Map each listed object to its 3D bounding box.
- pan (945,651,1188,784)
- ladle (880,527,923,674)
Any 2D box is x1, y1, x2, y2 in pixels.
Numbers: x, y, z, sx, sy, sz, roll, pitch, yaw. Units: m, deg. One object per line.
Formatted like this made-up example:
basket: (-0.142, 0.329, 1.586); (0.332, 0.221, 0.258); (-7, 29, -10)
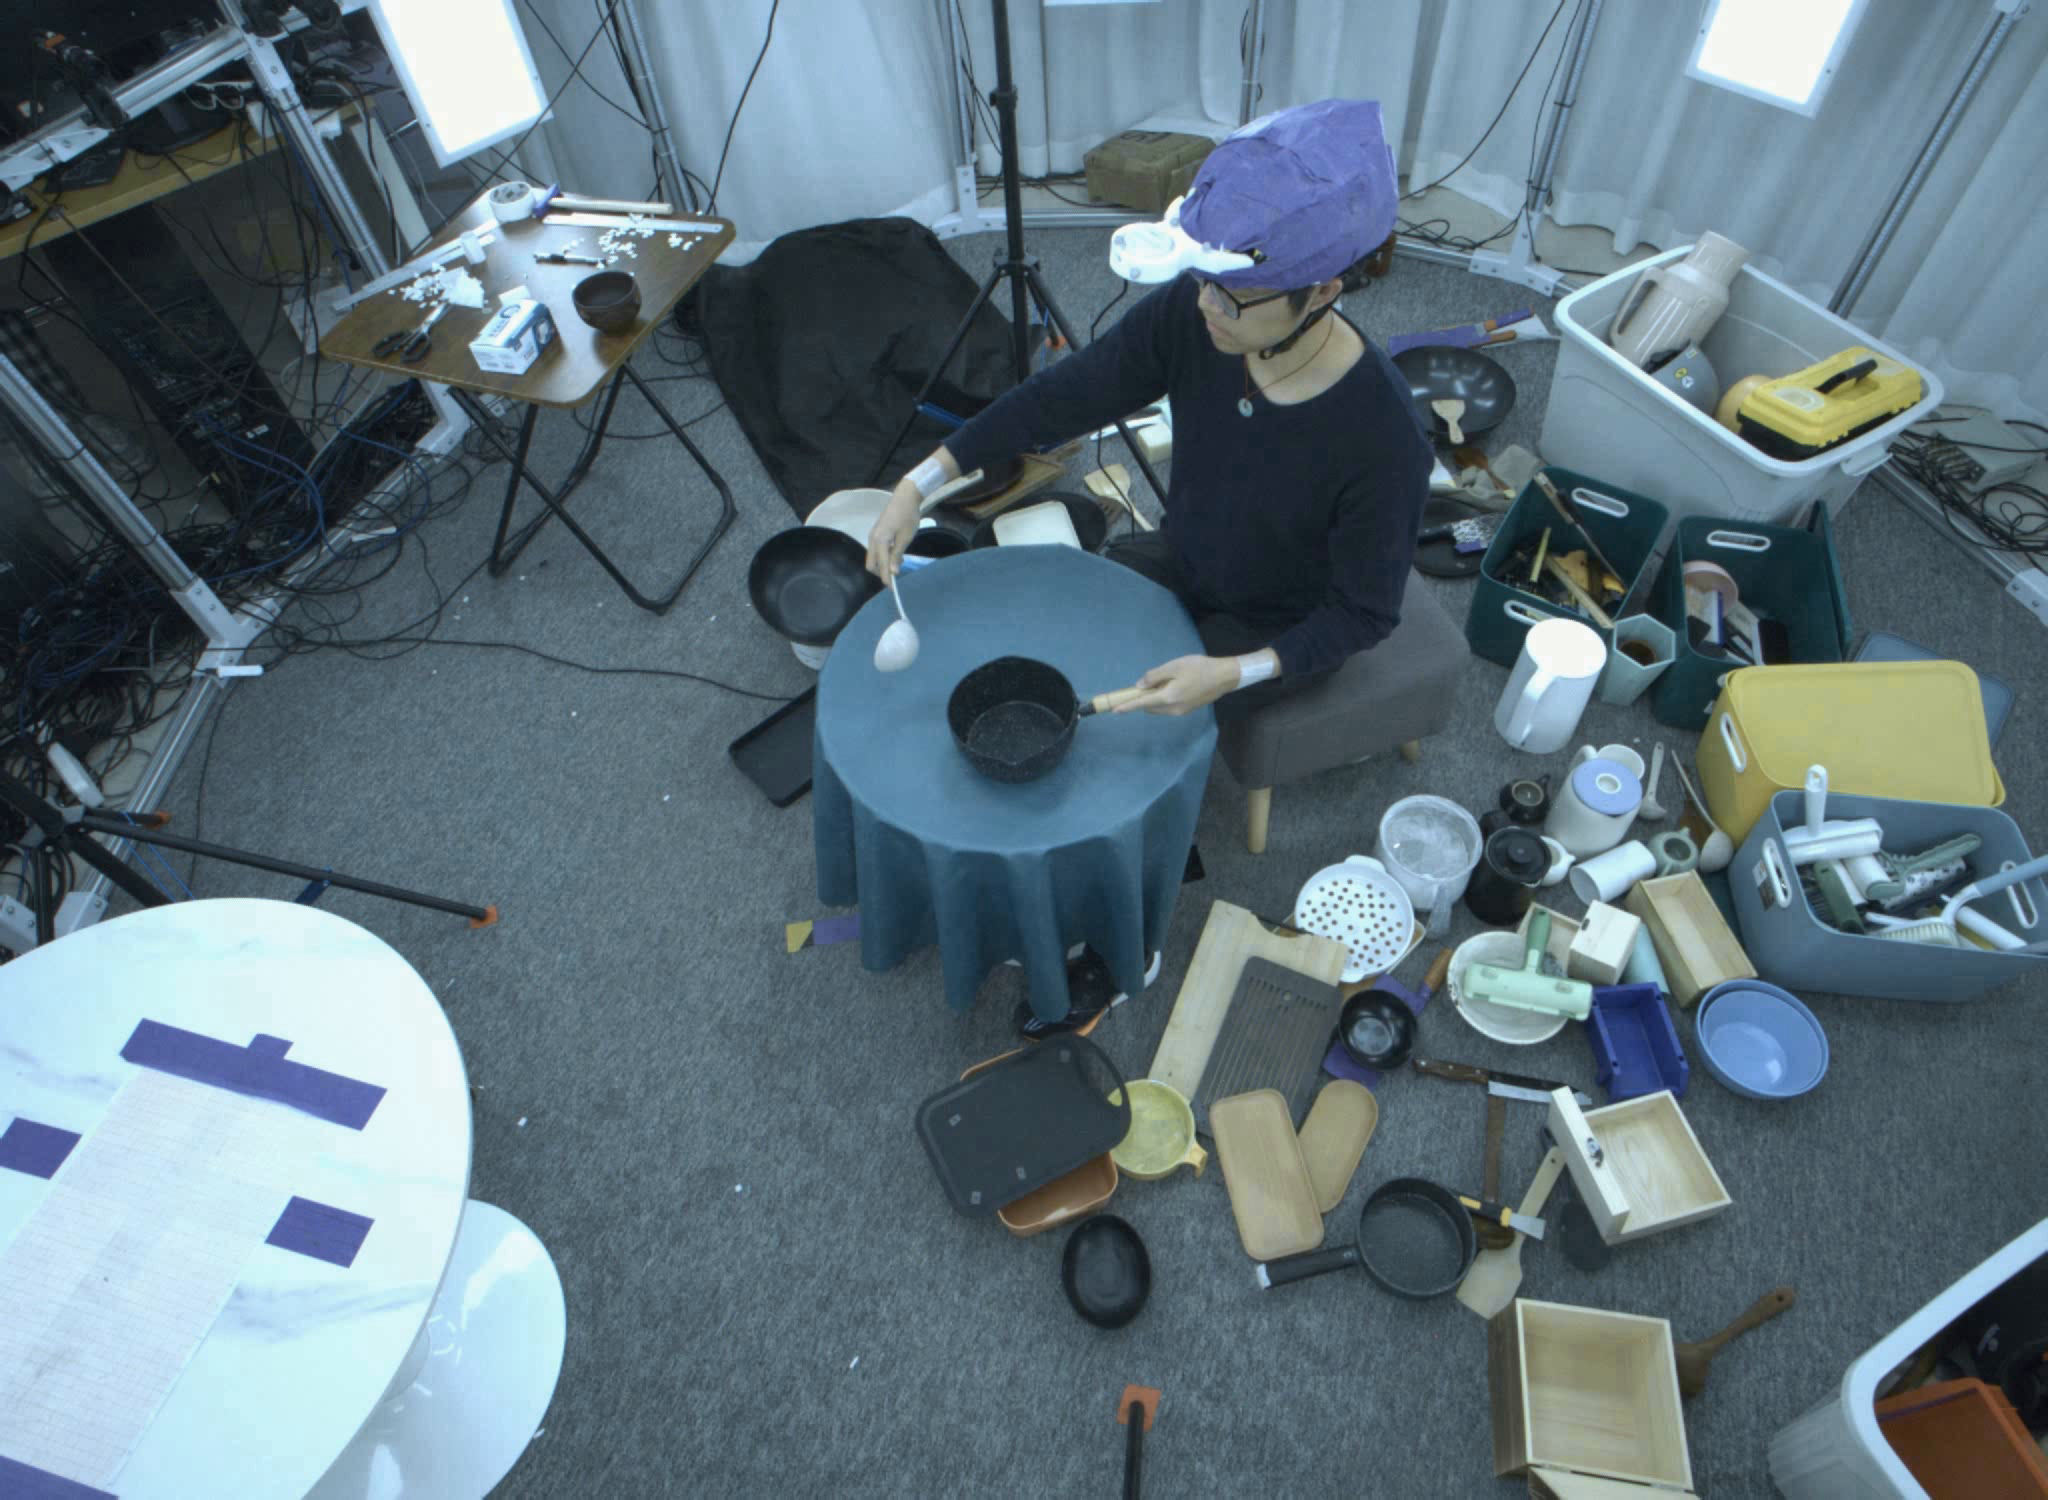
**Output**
pan: (0.063, -0.053, 1.751); (0.343, 0.109, 0.205); (-7, 53, 1)
ladle: (-0.210, -0.233, 1.827); (0.070, 0.090, 0.270); (-12, 58, -12)
